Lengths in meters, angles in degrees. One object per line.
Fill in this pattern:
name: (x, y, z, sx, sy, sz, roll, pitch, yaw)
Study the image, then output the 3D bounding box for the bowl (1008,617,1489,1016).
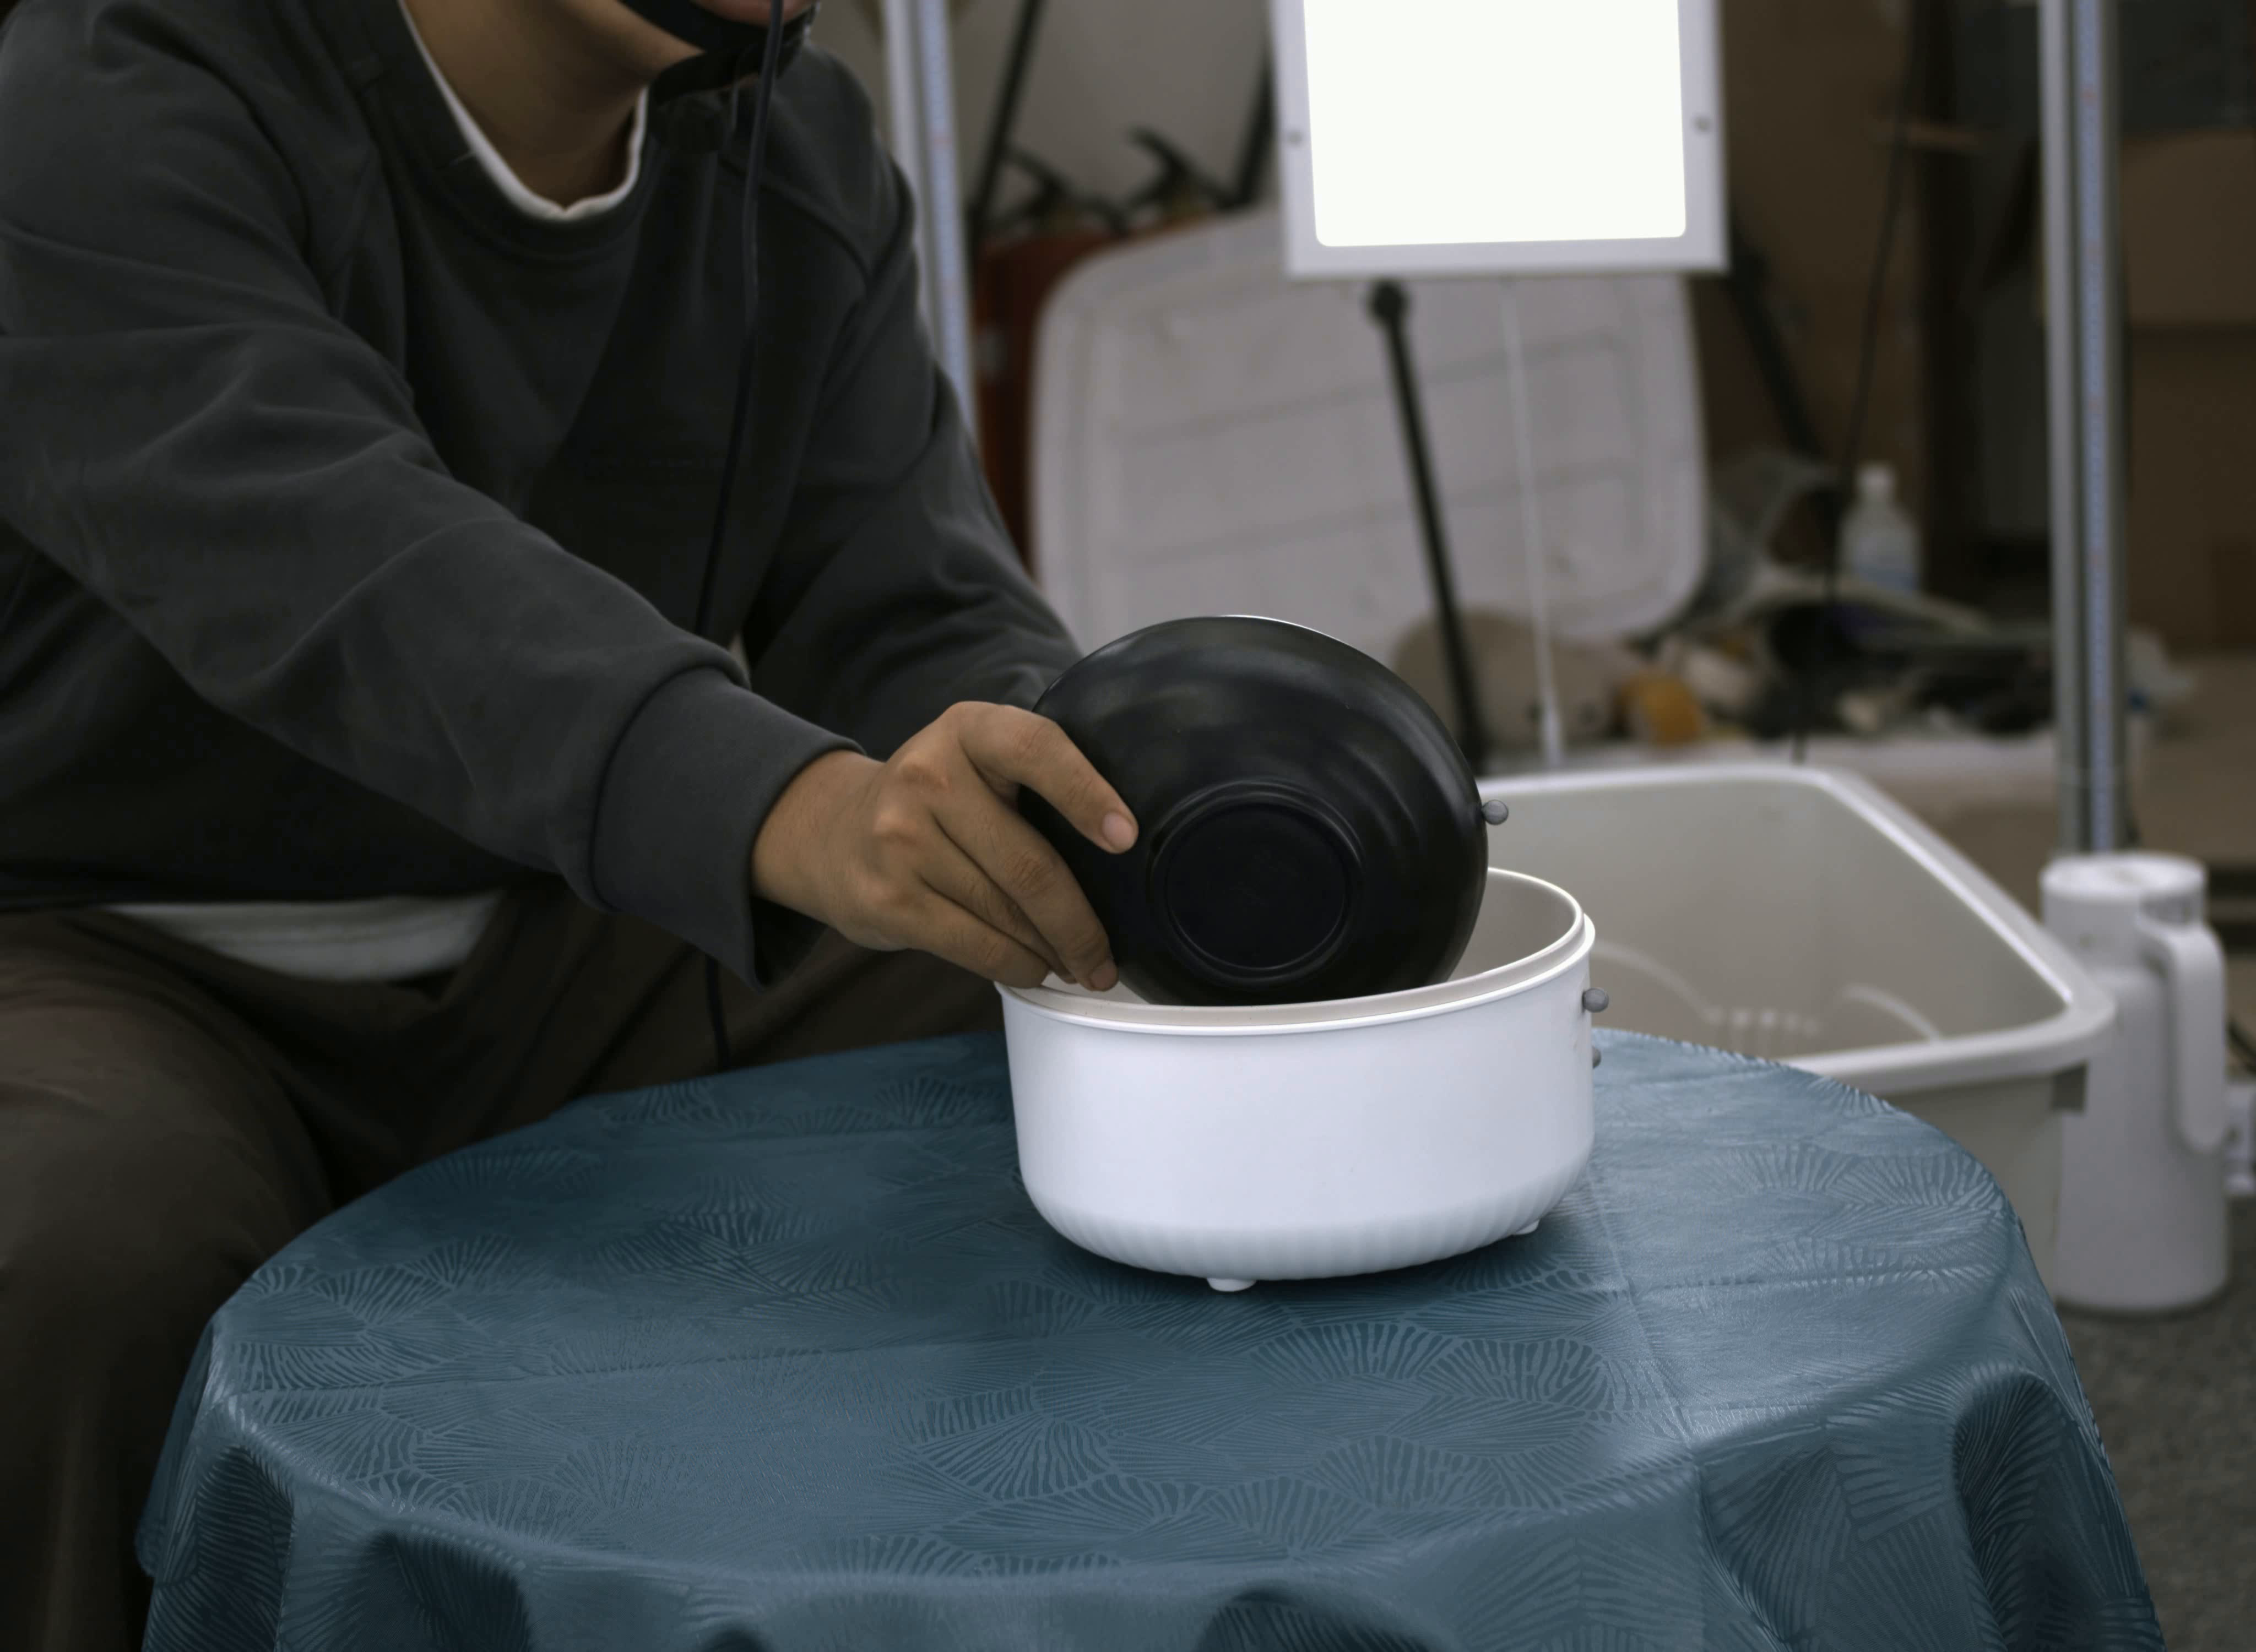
bowl: (0.041, 0.009, 1.764, 0.139, 0.168, 0.066, -47, 17, 17)

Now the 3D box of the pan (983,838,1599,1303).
pan: (0.031, 0.076, 1.911, 0.198, 0.102, 0.360, -12, 12, -20)
